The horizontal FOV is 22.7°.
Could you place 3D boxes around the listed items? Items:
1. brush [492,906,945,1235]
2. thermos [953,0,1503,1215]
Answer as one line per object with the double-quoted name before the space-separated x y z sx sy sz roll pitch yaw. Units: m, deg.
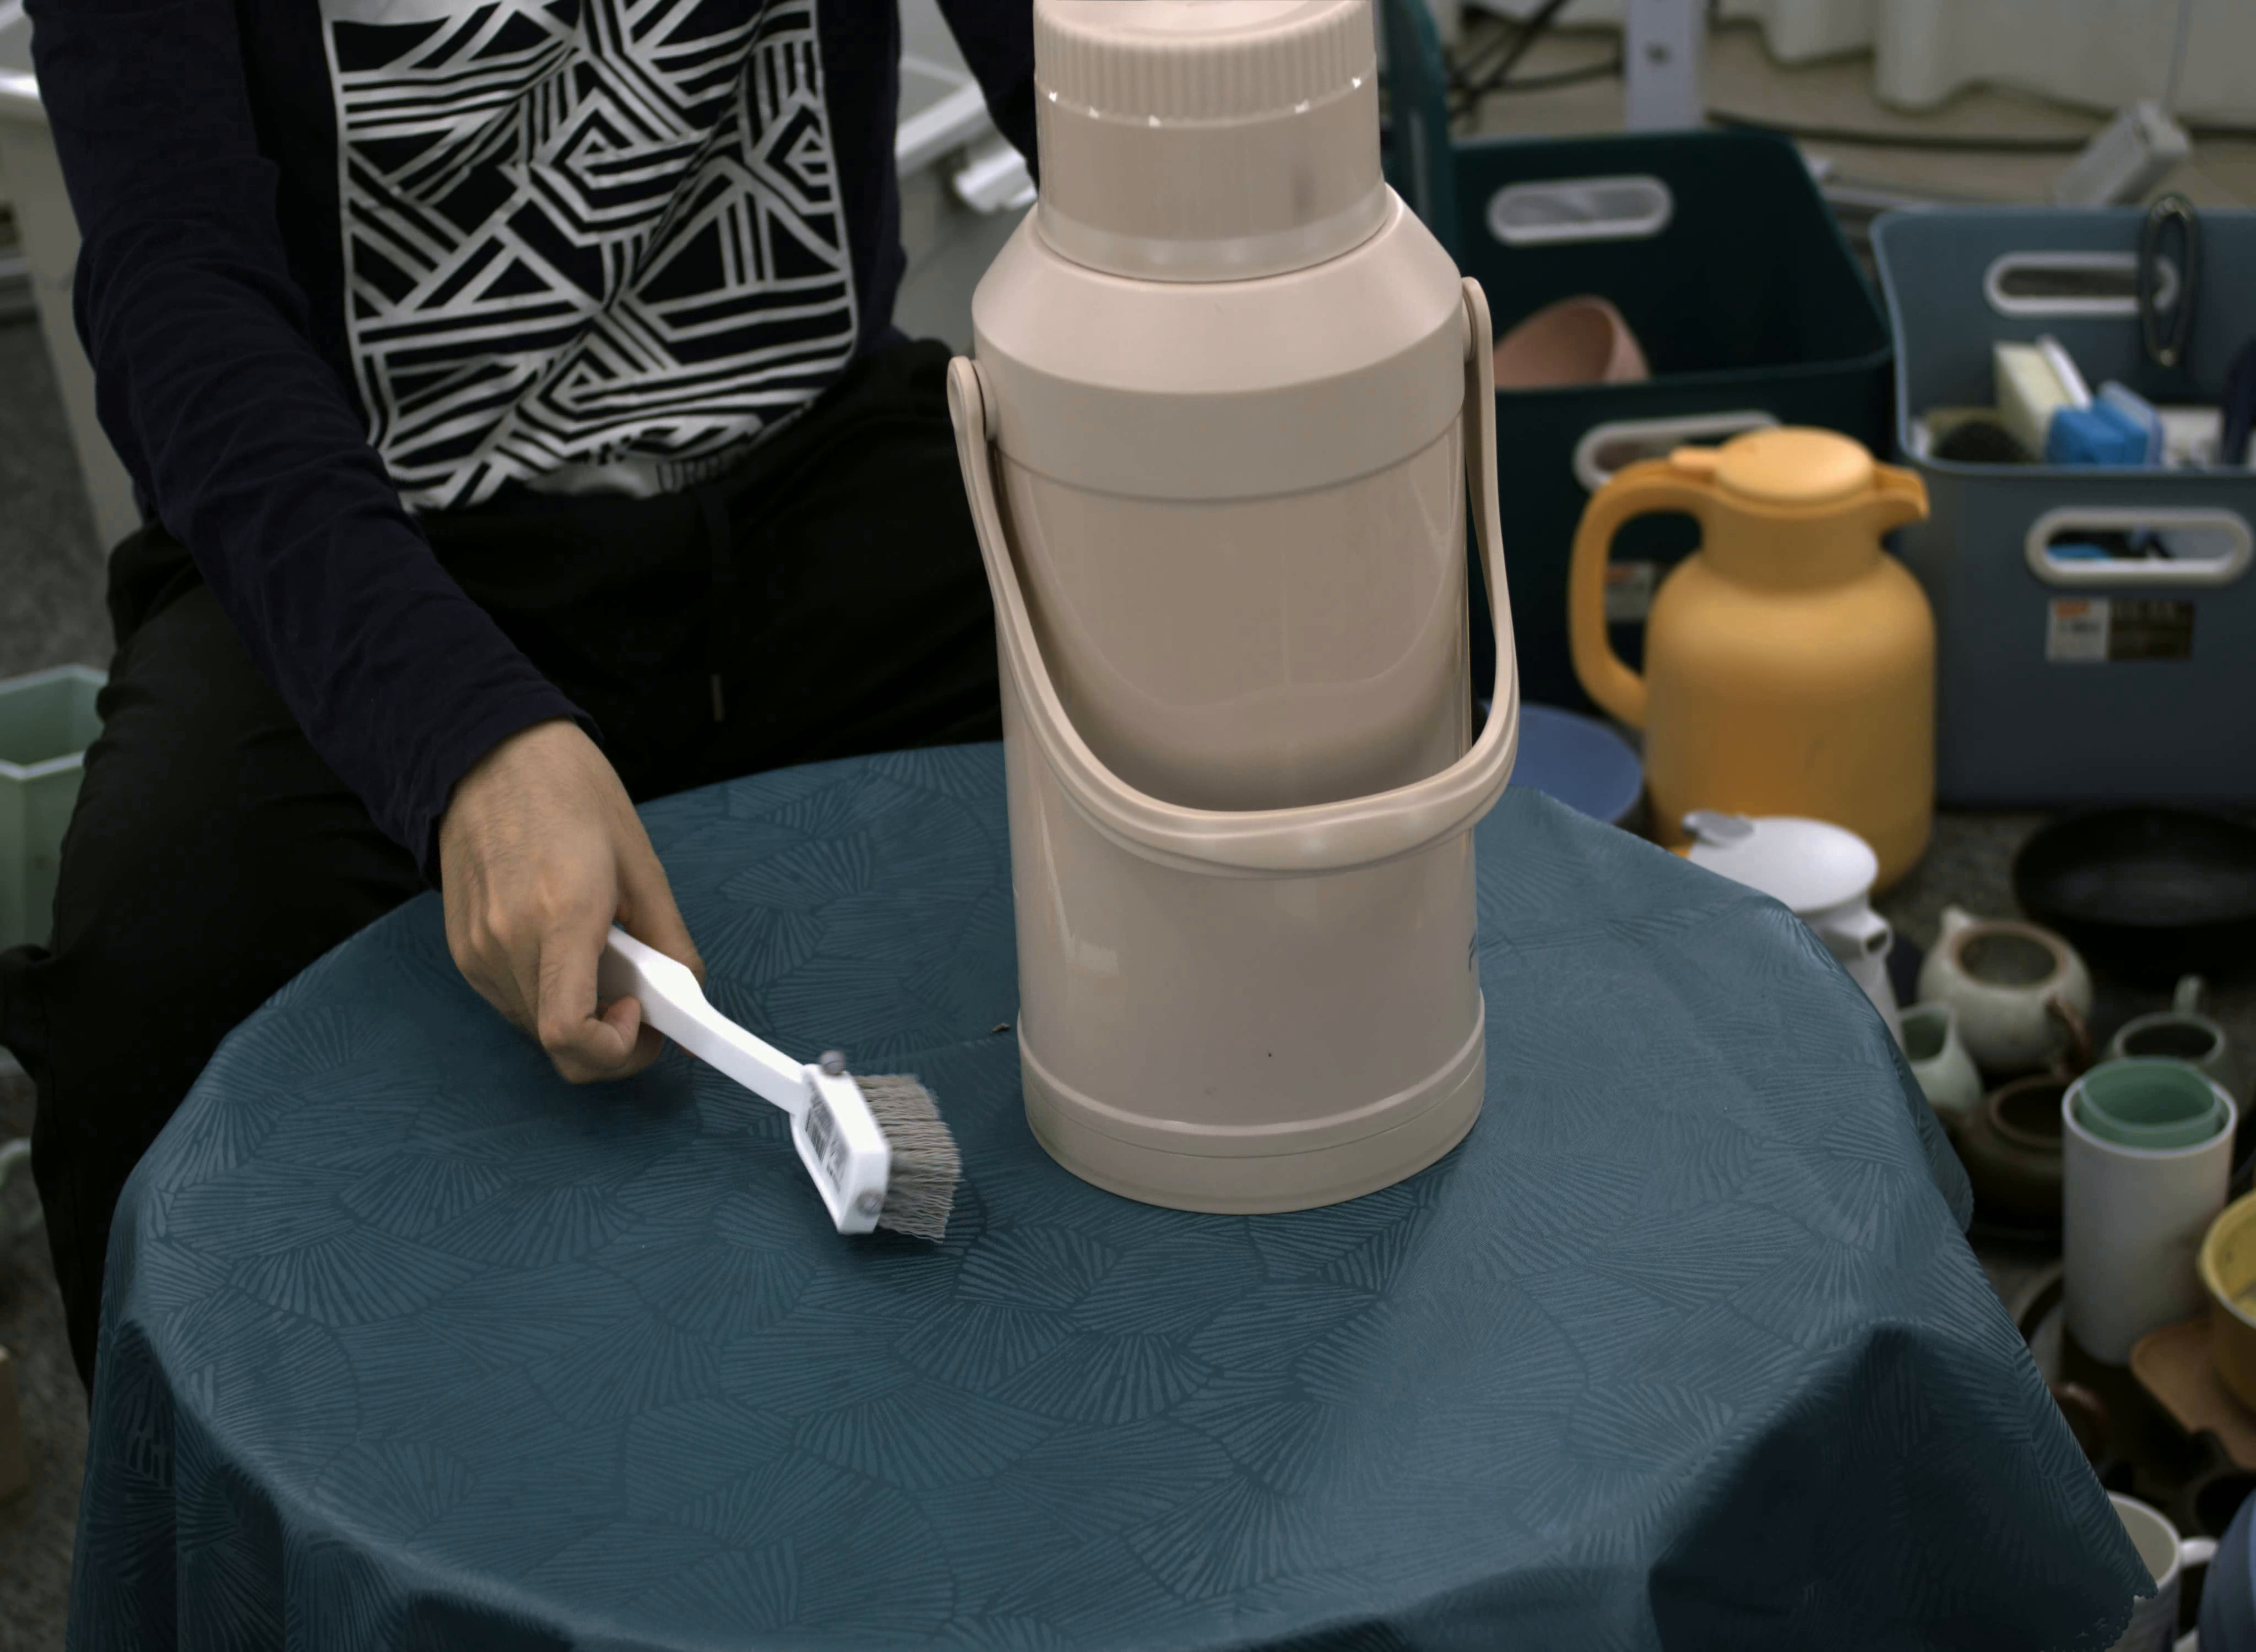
"brush" -0.137 0.074 1.900 0.050 0.034 0.244 -20 32 -30
"thermos" 0.033 -0.090 1.840 0.175 0.402 0.209 -12 27 -13
